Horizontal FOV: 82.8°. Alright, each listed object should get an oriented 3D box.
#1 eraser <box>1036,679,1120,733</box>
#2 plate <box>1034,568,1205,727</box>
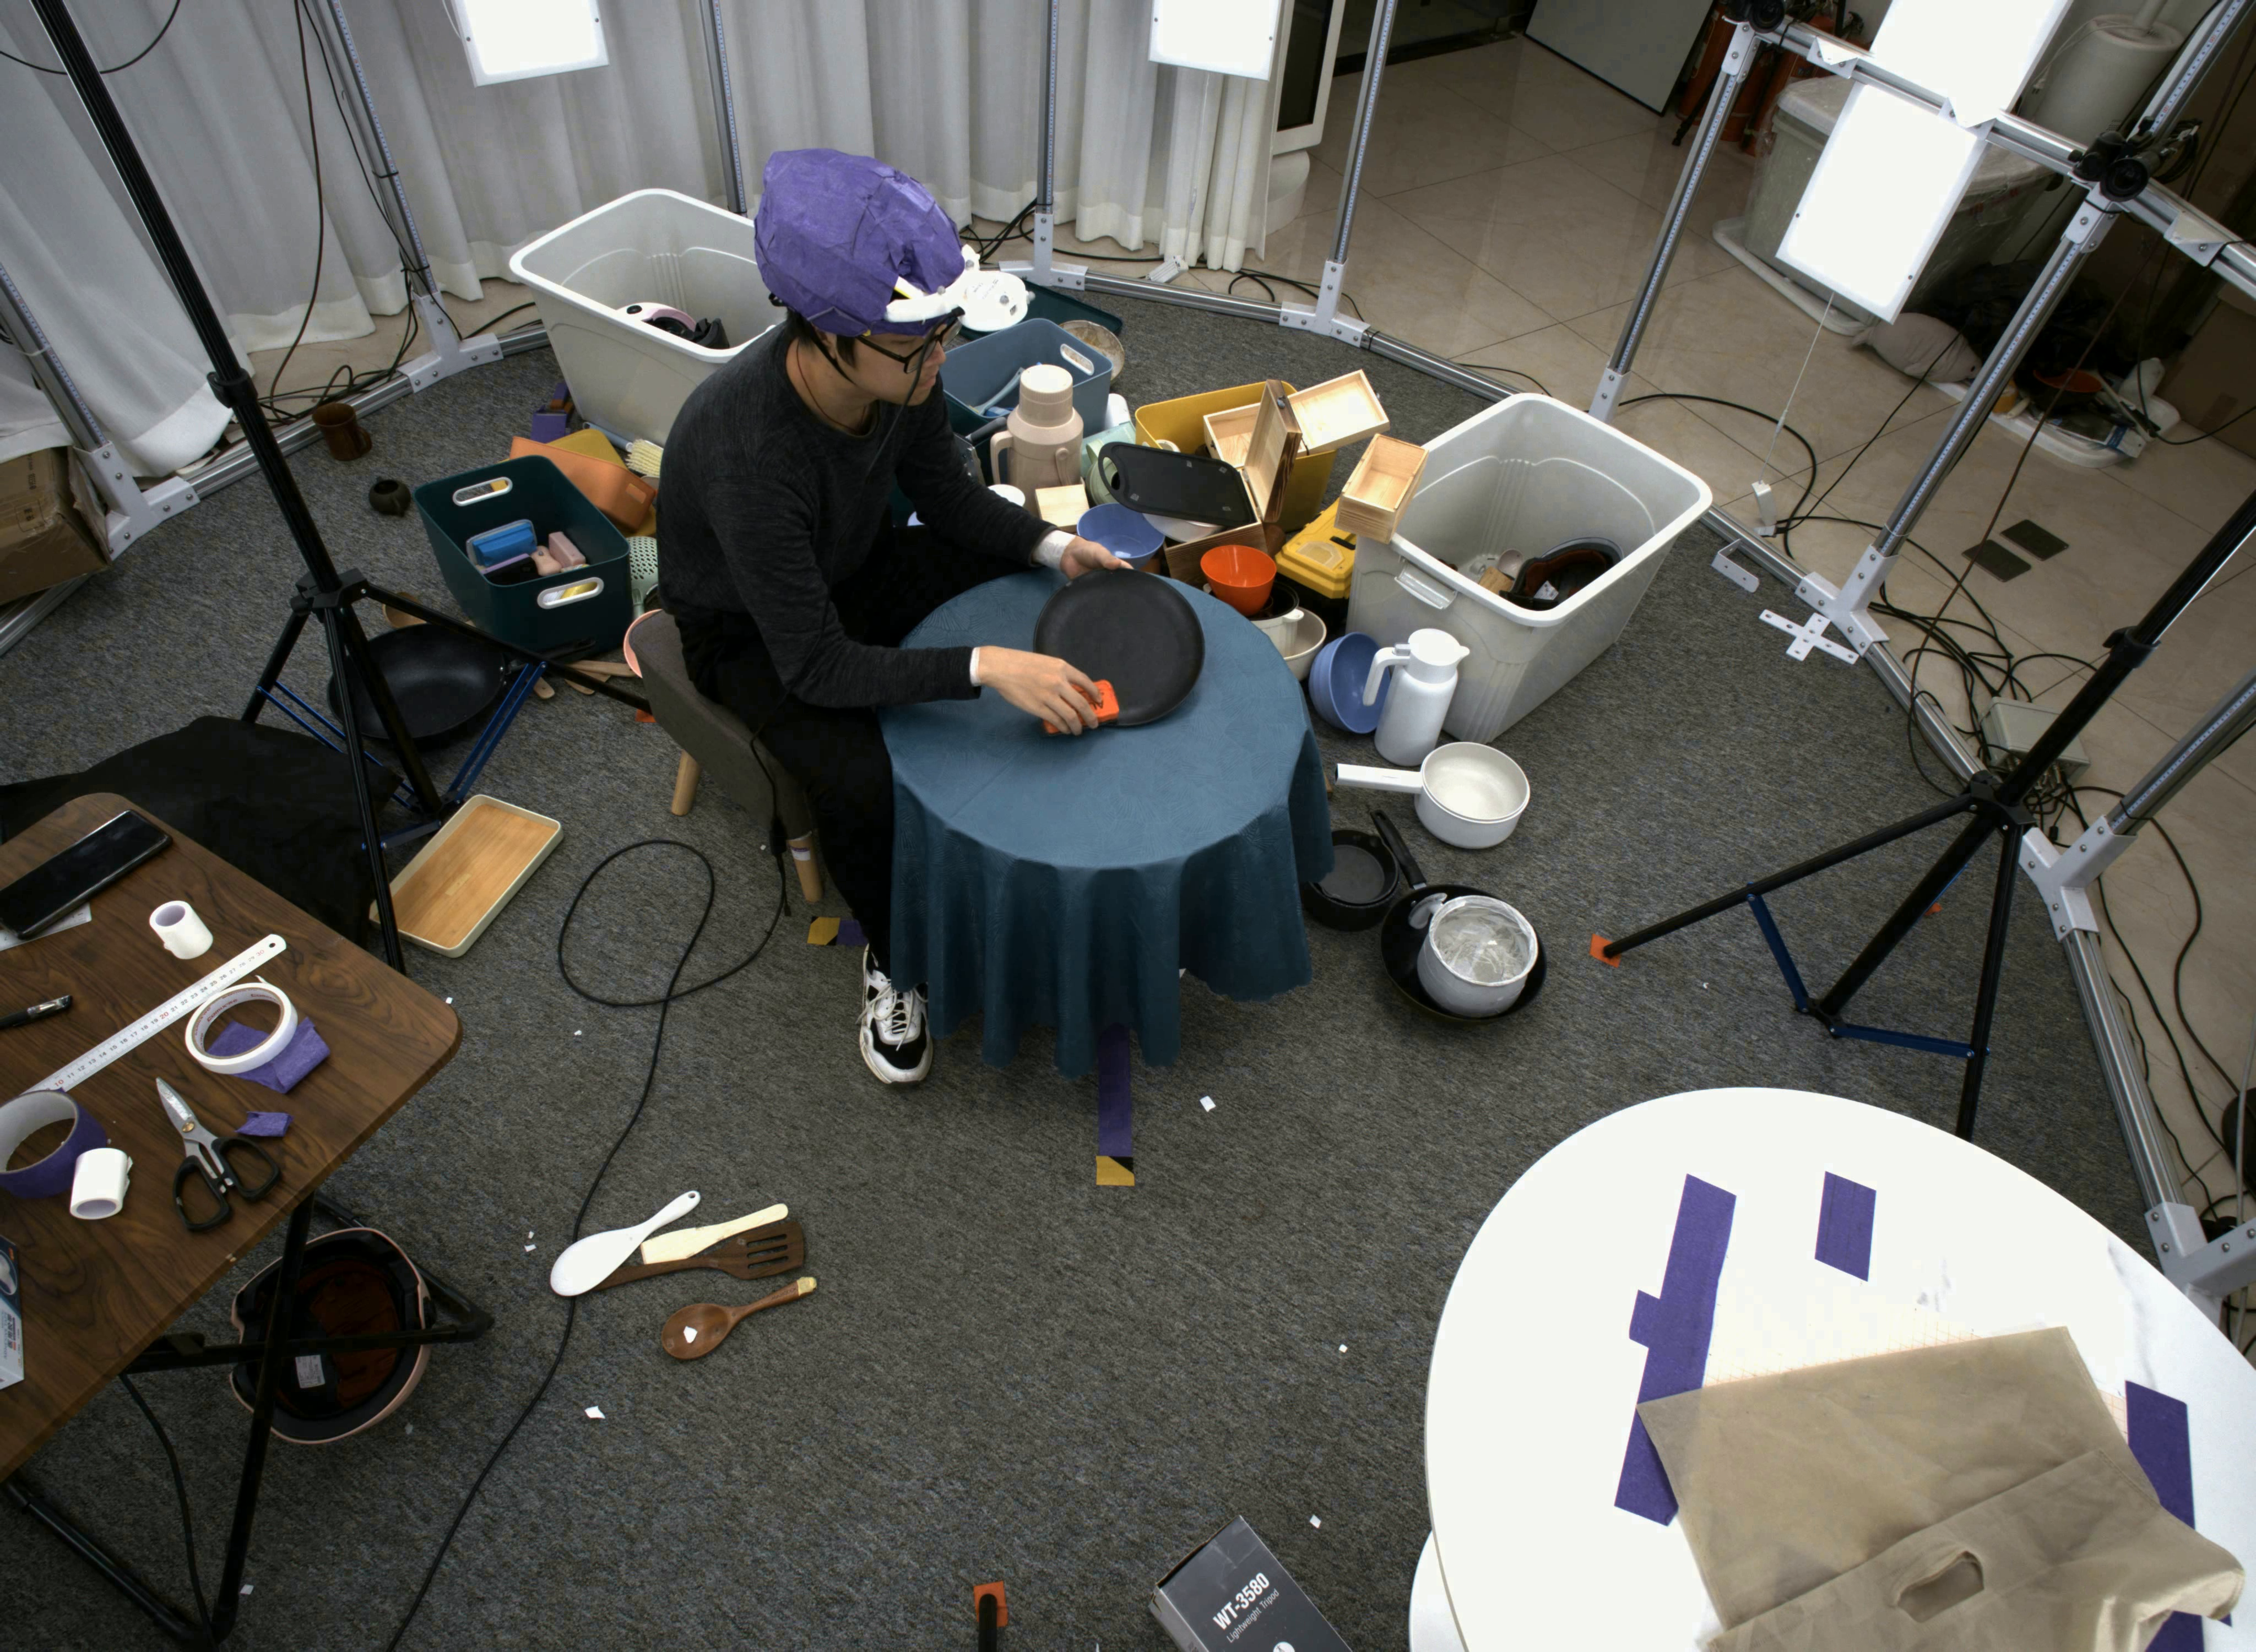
[{"bbox_3d":[-0.069,-0.167,1.776,0.108,0.022,0.060,-14,64,-17],"label":"eraser"},{"bbox_3d":[-0.011,-0.254,1.830,0.244,0.023,0.248,1,72,-3],"label":"plate"}]
